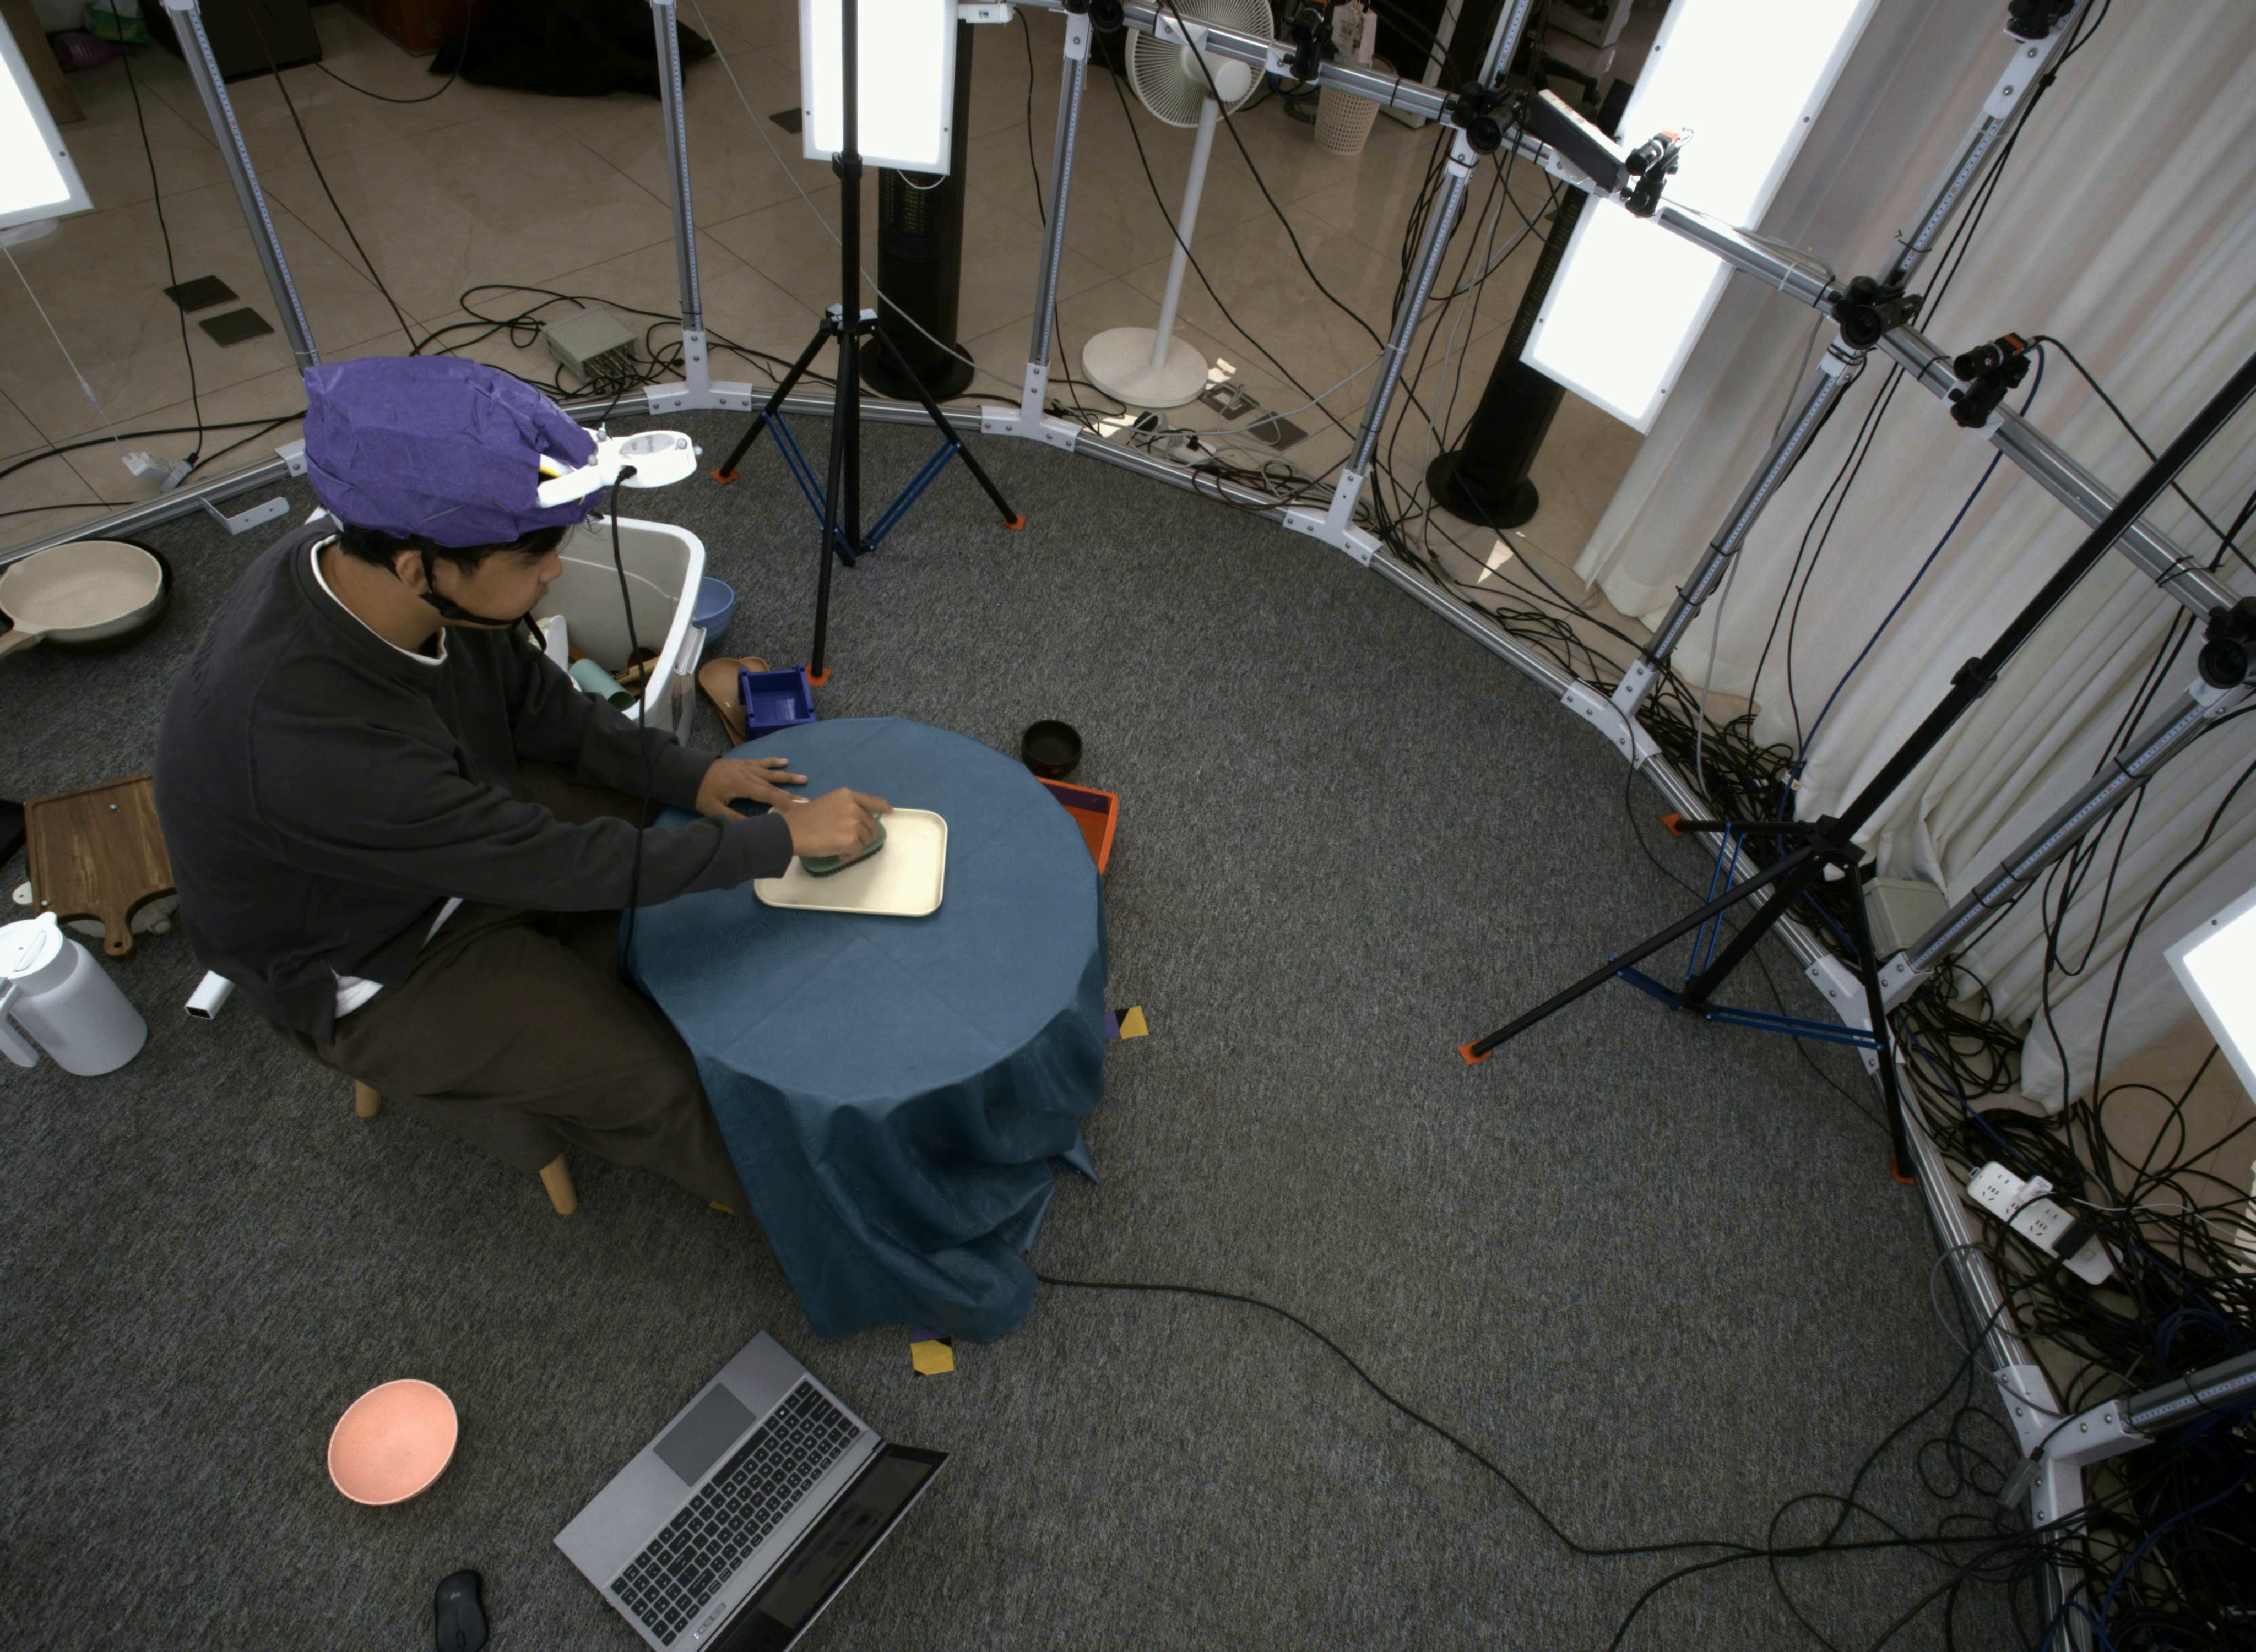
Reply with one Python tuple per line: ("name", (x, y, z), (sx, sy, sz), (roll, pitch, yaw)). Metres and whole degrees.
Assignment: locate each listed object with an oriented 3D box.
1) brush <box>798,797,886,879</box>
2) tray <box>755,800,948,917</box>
("brush", (-0.369, 0.017, 1.684), (0.123, 0.078, 0.058), (-36, 65, -17))
("tray", (-0.357, 0.042, 1.694), (0.239, 0.018, 0.168), (5, 52, -10))
